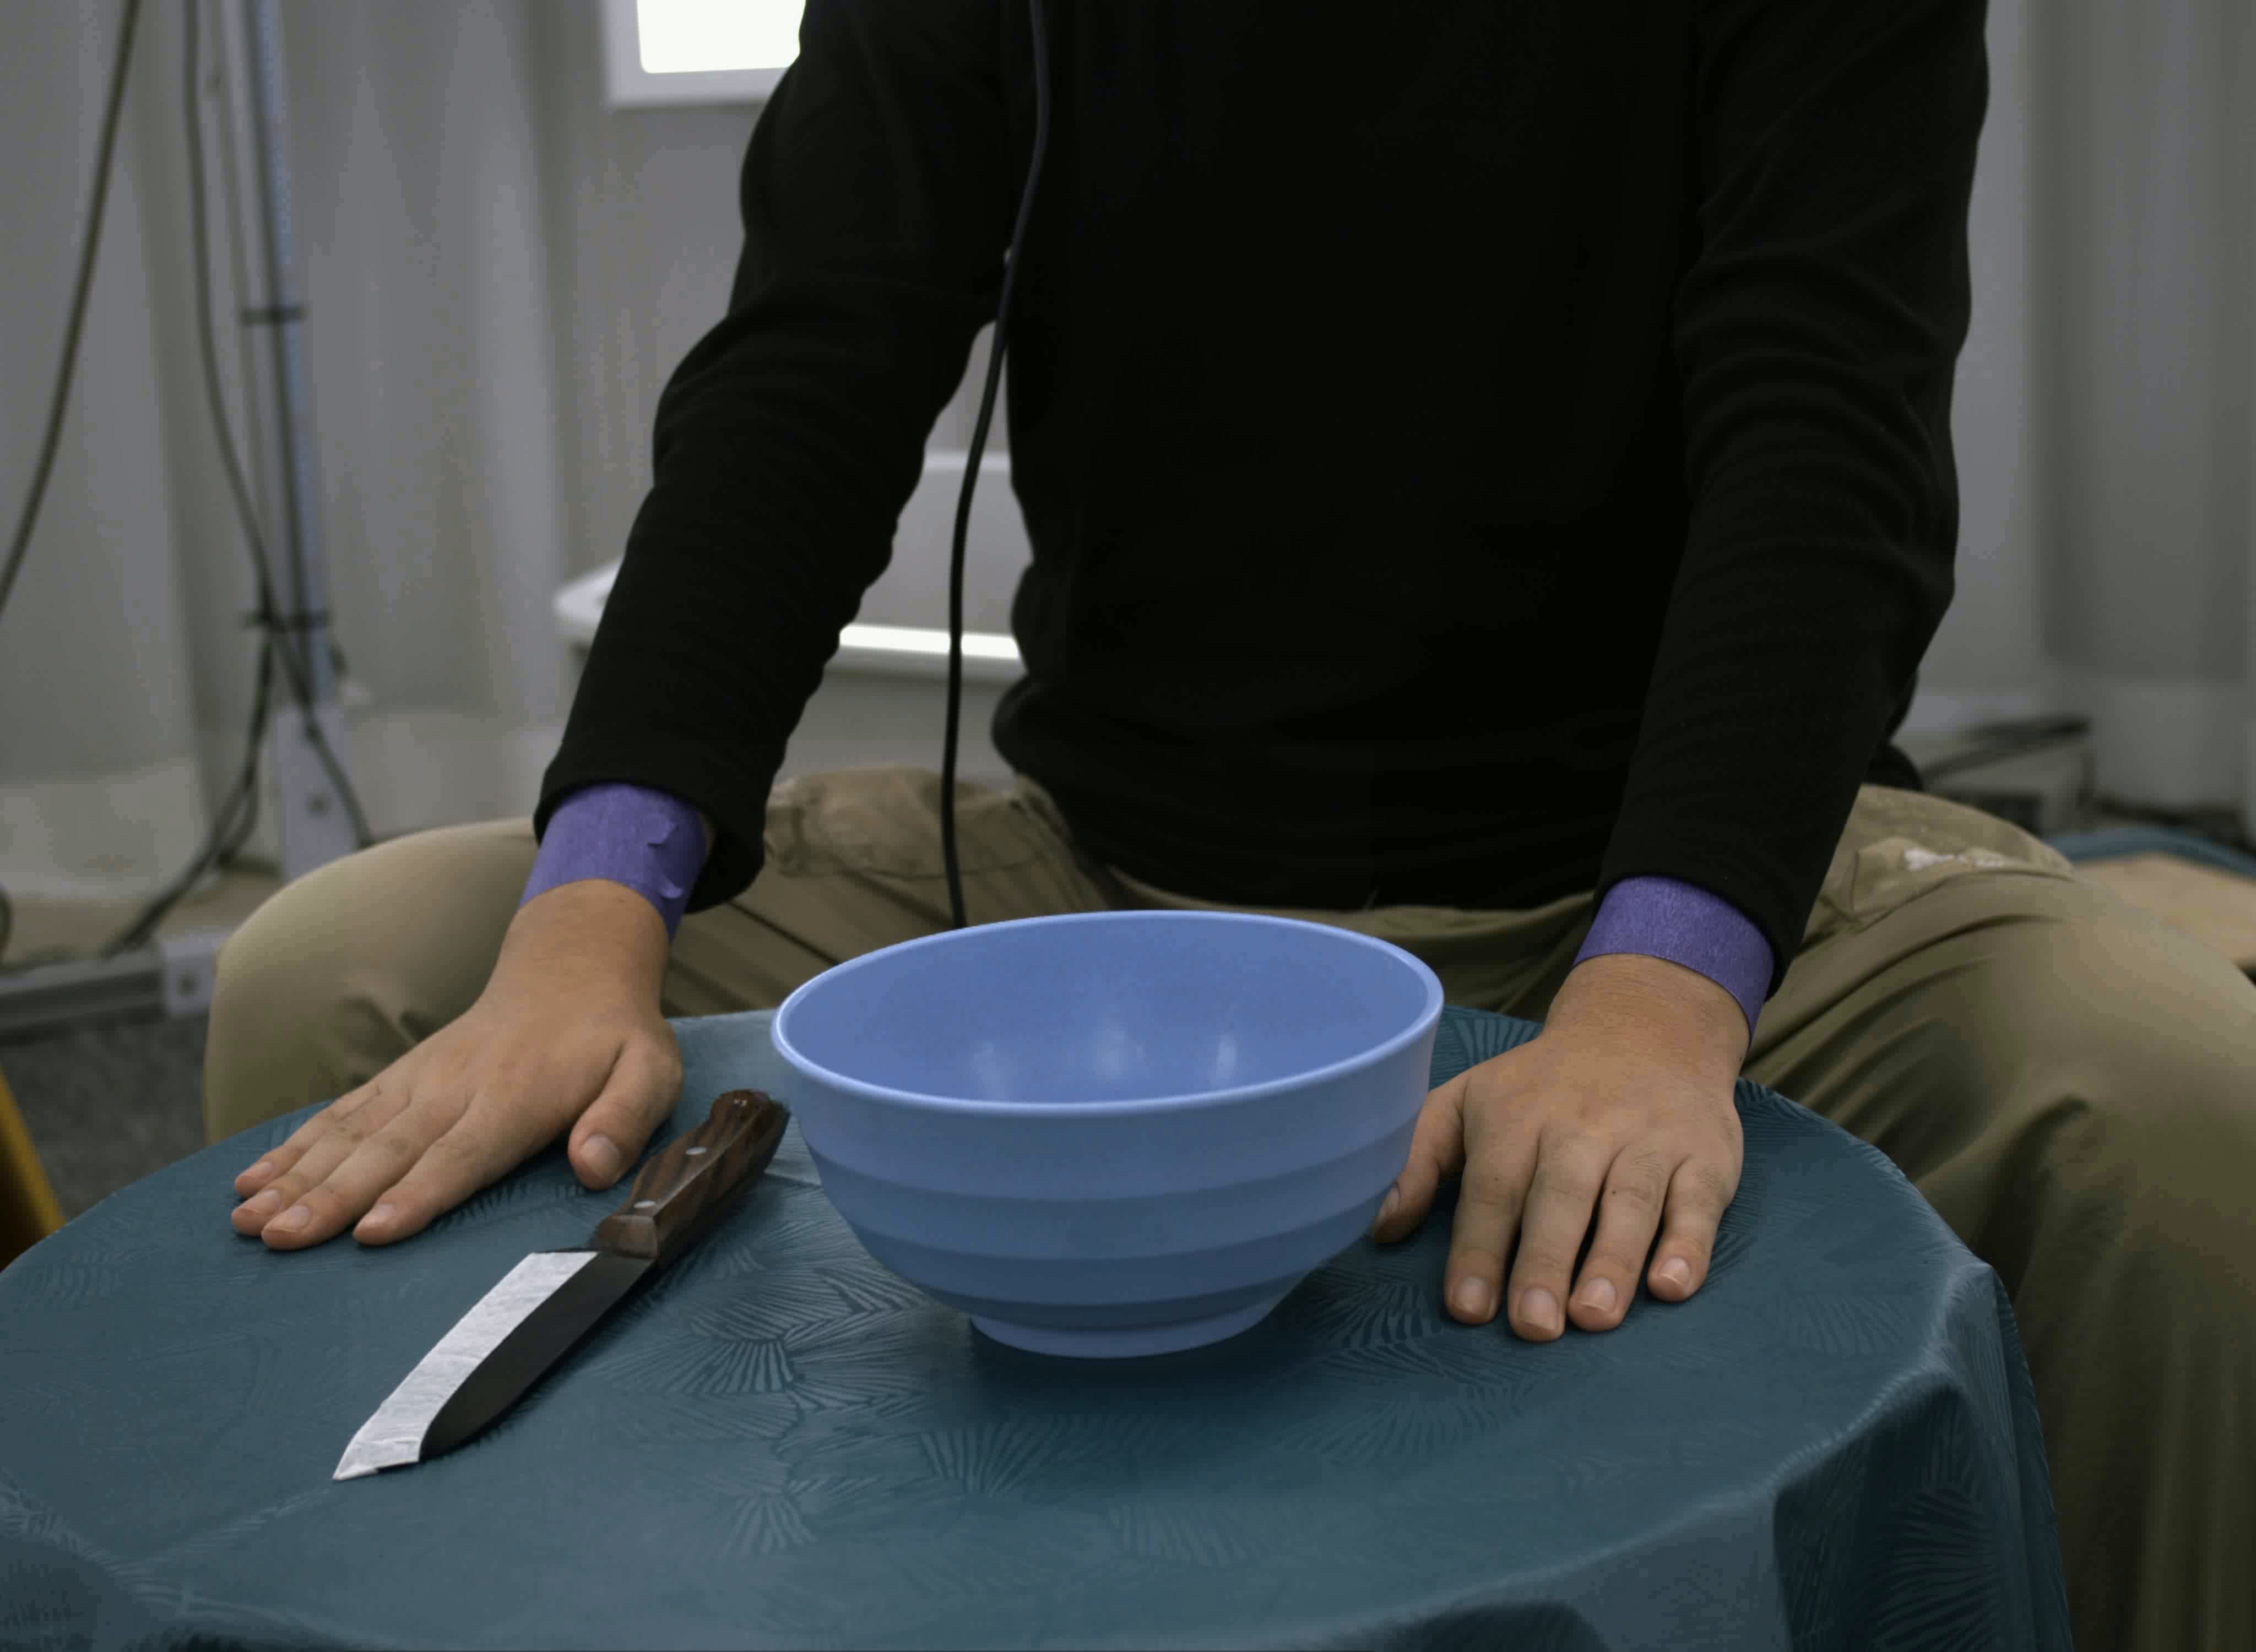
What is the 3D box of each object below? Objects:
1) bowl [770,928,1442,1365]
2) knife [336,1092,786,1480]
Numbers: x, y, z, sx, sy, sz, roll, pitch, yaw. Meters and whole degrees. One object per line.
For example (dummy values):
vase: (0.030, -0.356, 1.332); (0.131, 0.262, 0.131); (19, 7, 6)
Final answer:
bowl: (-0.004, 0.098, 1.602); (0.196, 0.095, 0.197); (-3, 13, 0)
knife: (-0.165, 0.137, 1.634); (0.050, 0.020, 0.290); (-2, 17, 21)
